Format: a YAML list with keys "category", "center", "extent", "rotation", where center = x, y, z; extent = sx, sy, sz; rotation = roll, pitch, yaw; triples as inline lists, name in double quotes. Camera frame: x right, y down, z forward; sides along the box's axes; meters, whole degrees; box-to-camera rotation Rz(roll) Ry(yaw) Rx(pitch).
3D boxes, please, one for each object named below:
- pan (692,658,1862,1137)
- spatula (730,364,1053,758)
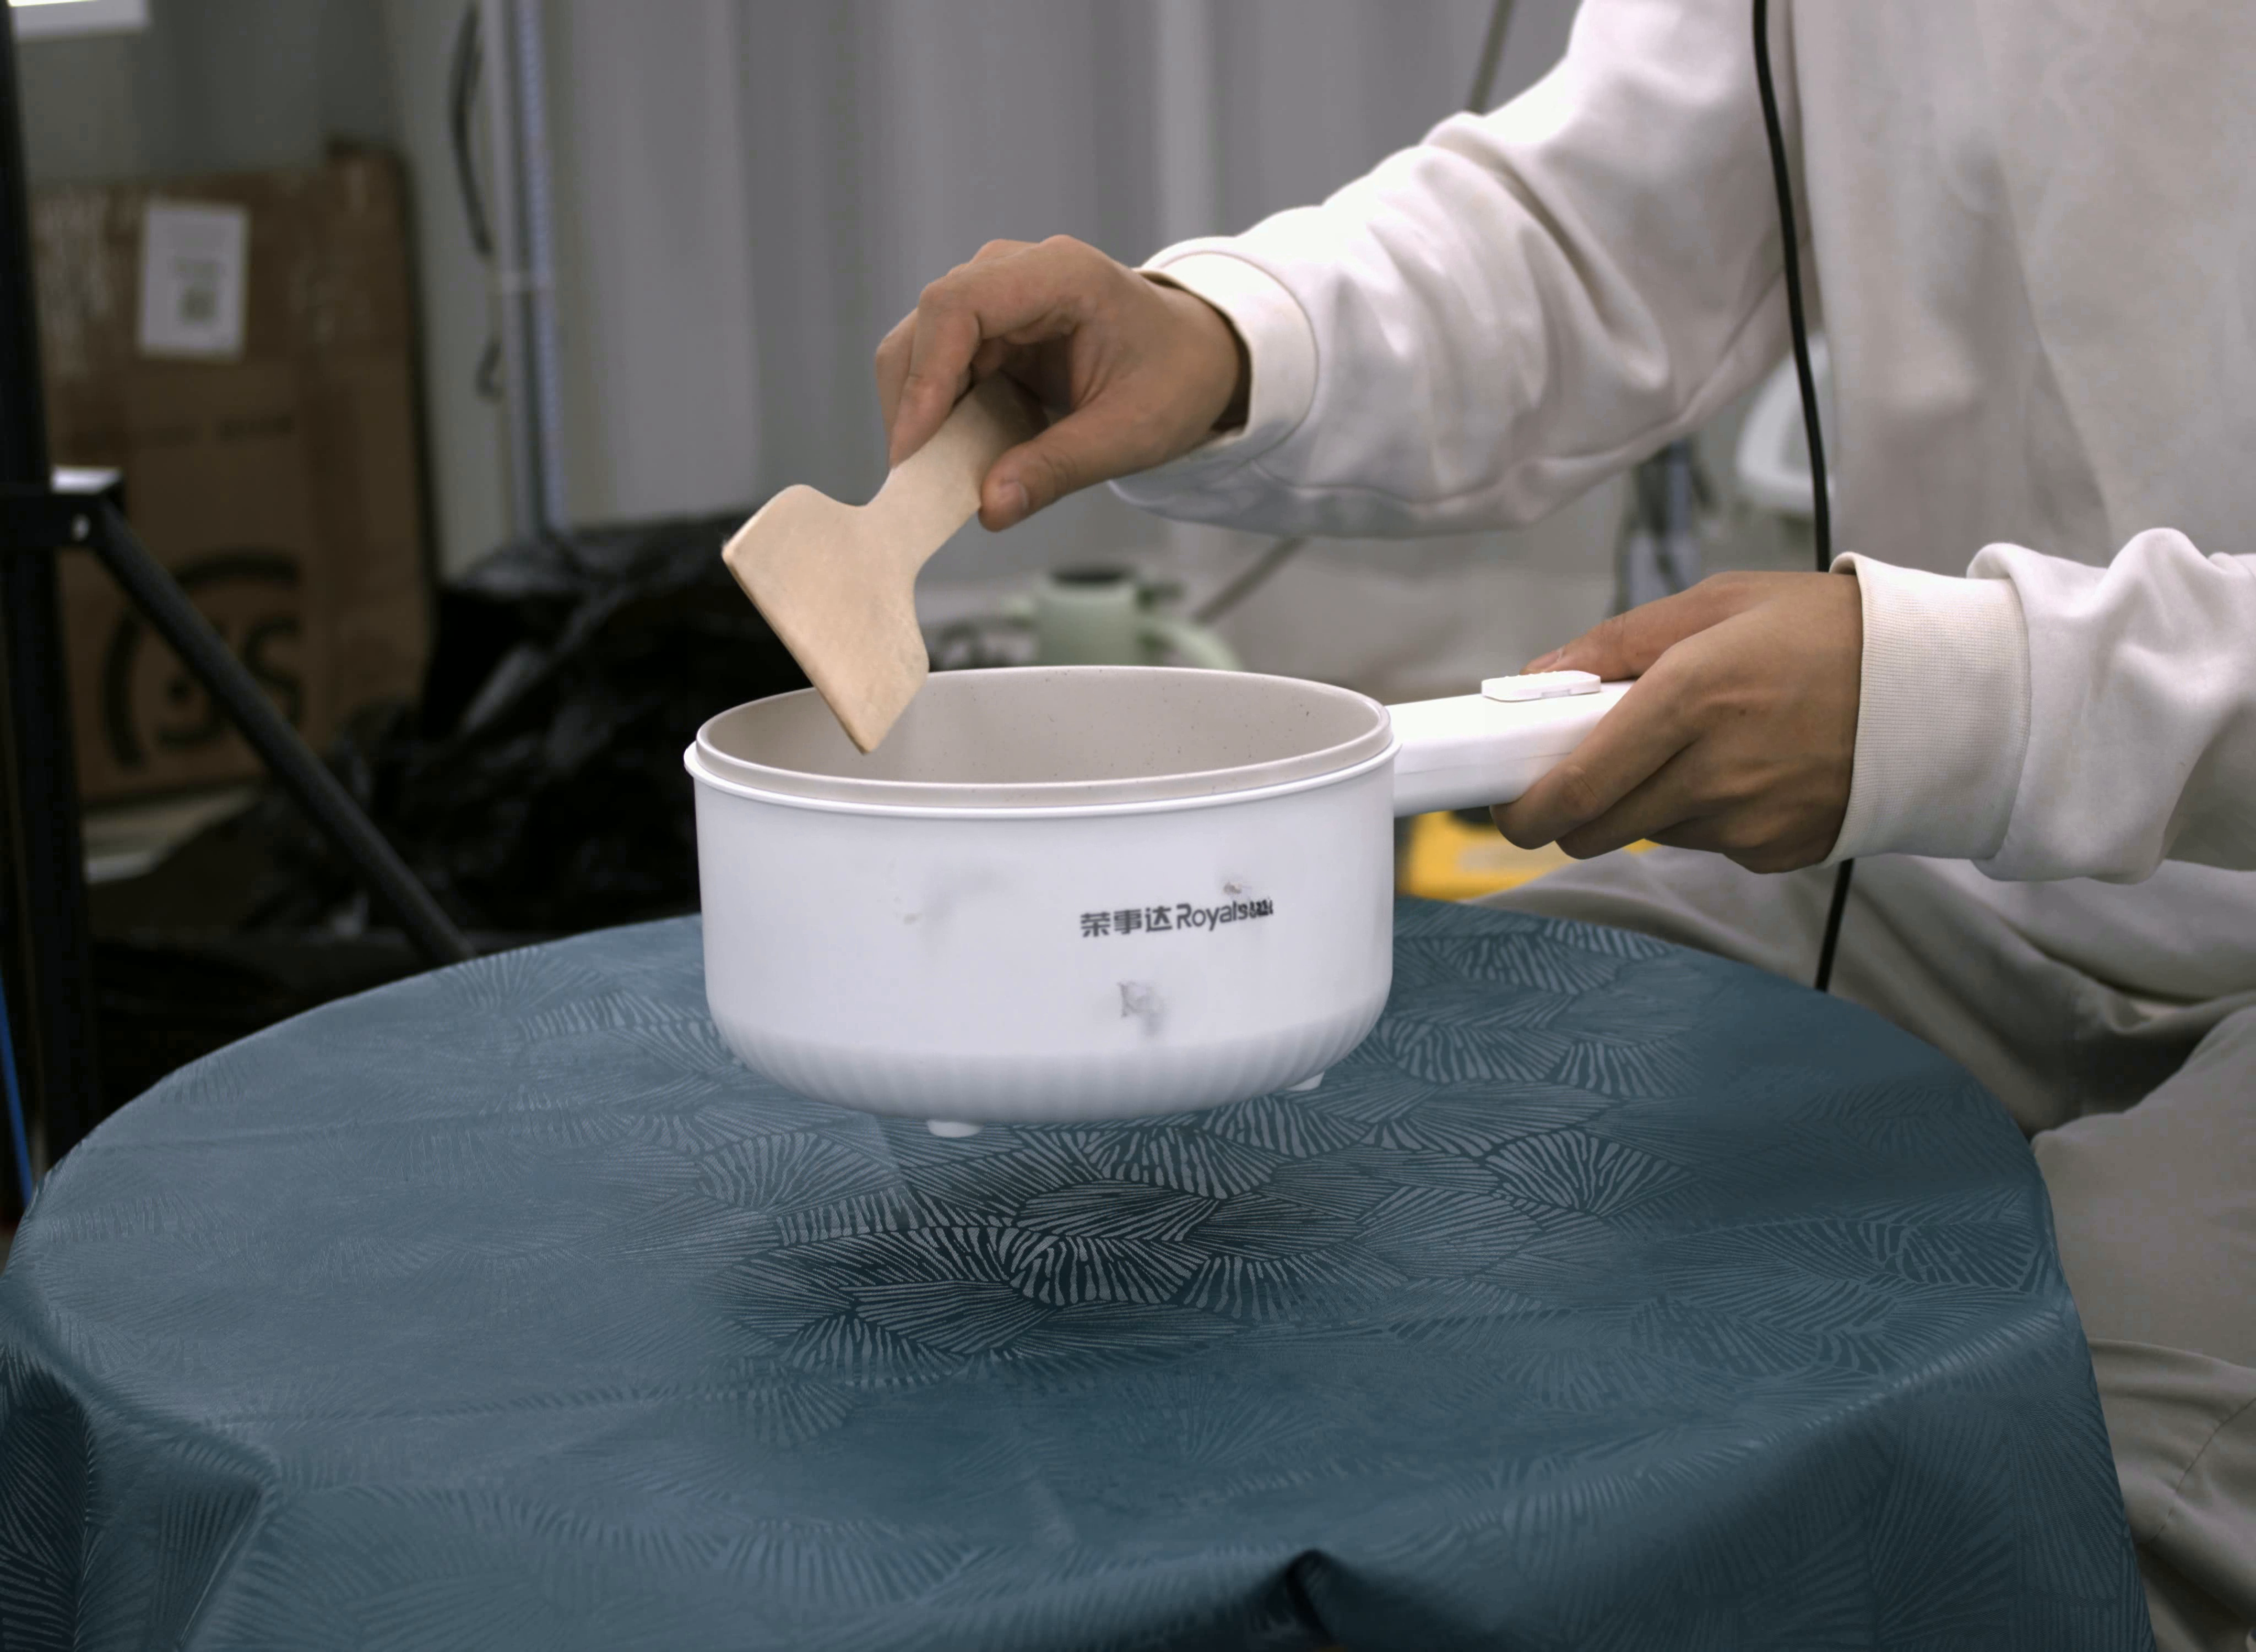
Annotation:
- category: "pan"
  center: [0.049, 0.014, 1.523]
  extent: [0.347, 0.102, 0.205]
  rotation: [-6, 11, -22]
- category: "spatula"
  center: [-0.063, -0.093, 1.610]
  extent: [0.011, 0.072, 0.291]
  rotation: [-33, 10, 21]
